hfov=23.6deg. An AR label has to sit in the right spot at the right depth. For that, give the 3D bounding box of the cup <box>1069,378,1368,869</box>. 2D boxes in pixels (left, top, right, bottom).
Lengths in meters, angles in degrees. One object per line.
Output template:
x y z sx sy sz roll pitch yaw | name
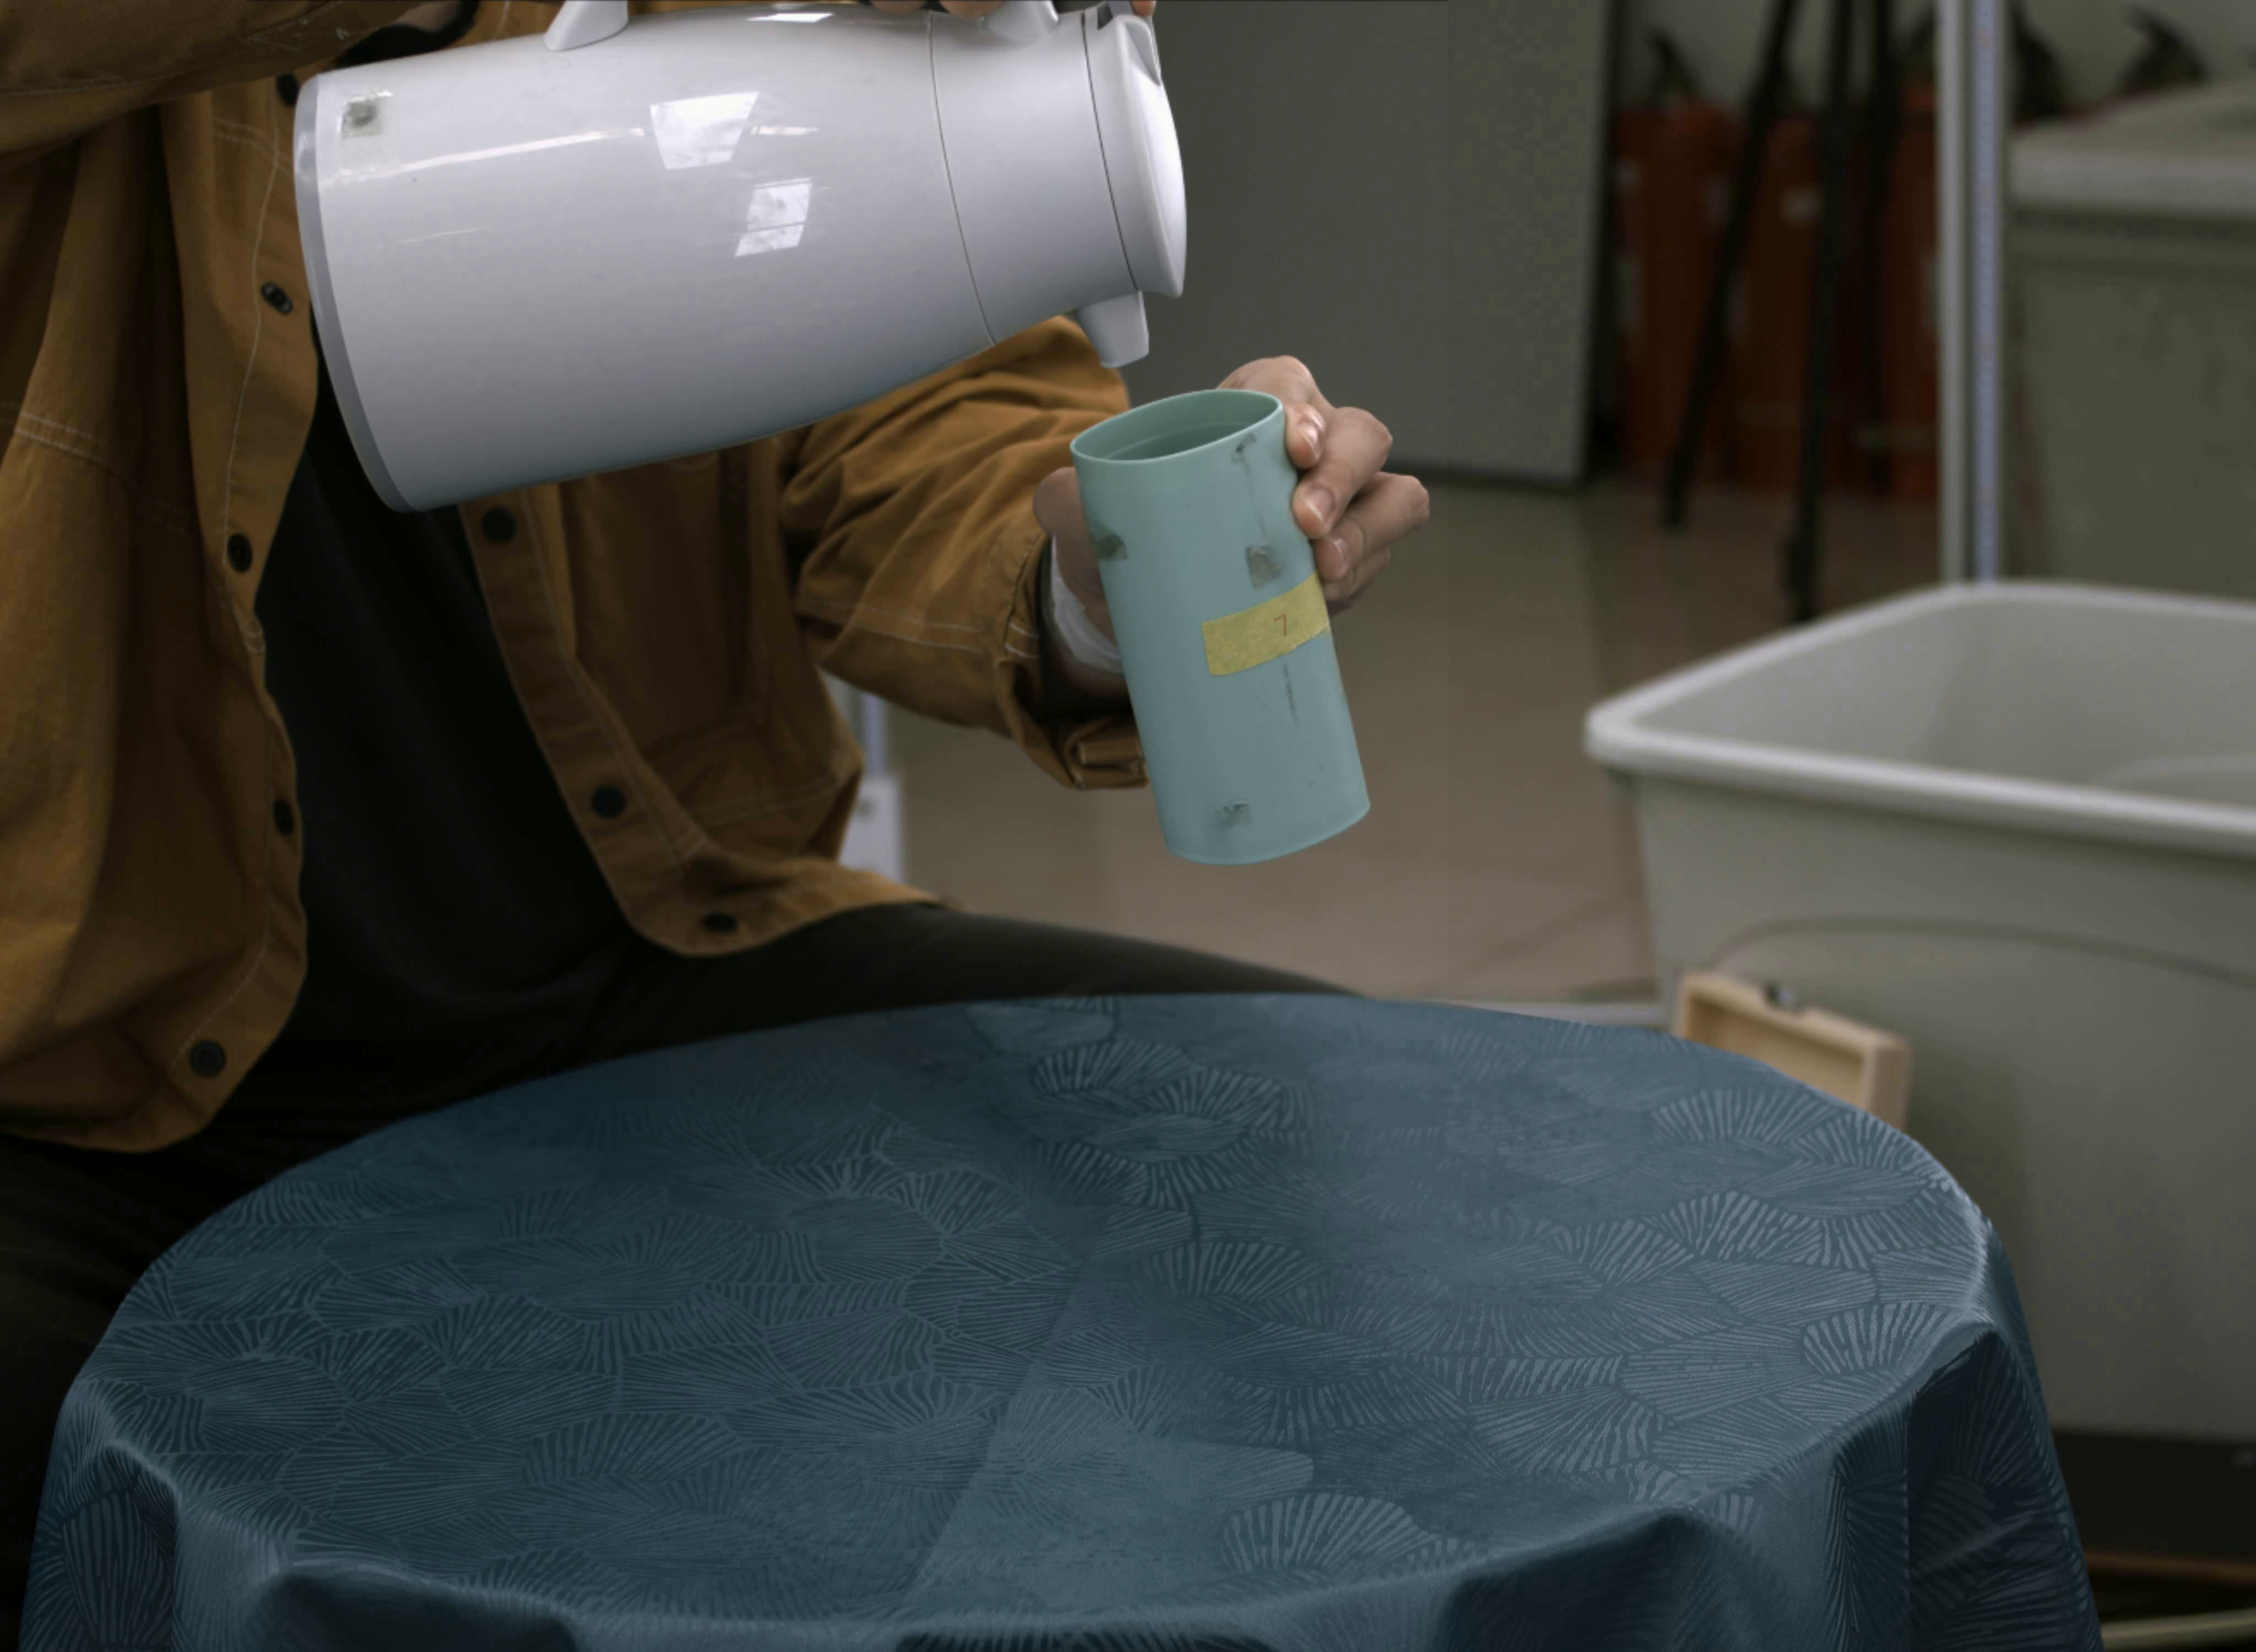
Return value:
0.027 -0.061 1.616 0.066 0.133 0.067 -12 18 3 | cup

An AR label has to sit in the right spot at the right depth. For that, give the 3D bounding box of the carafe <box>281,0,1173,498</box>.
-0.114 -0.200 1.570 0.246 0.169 0.133 -11 23 7 | carafe
